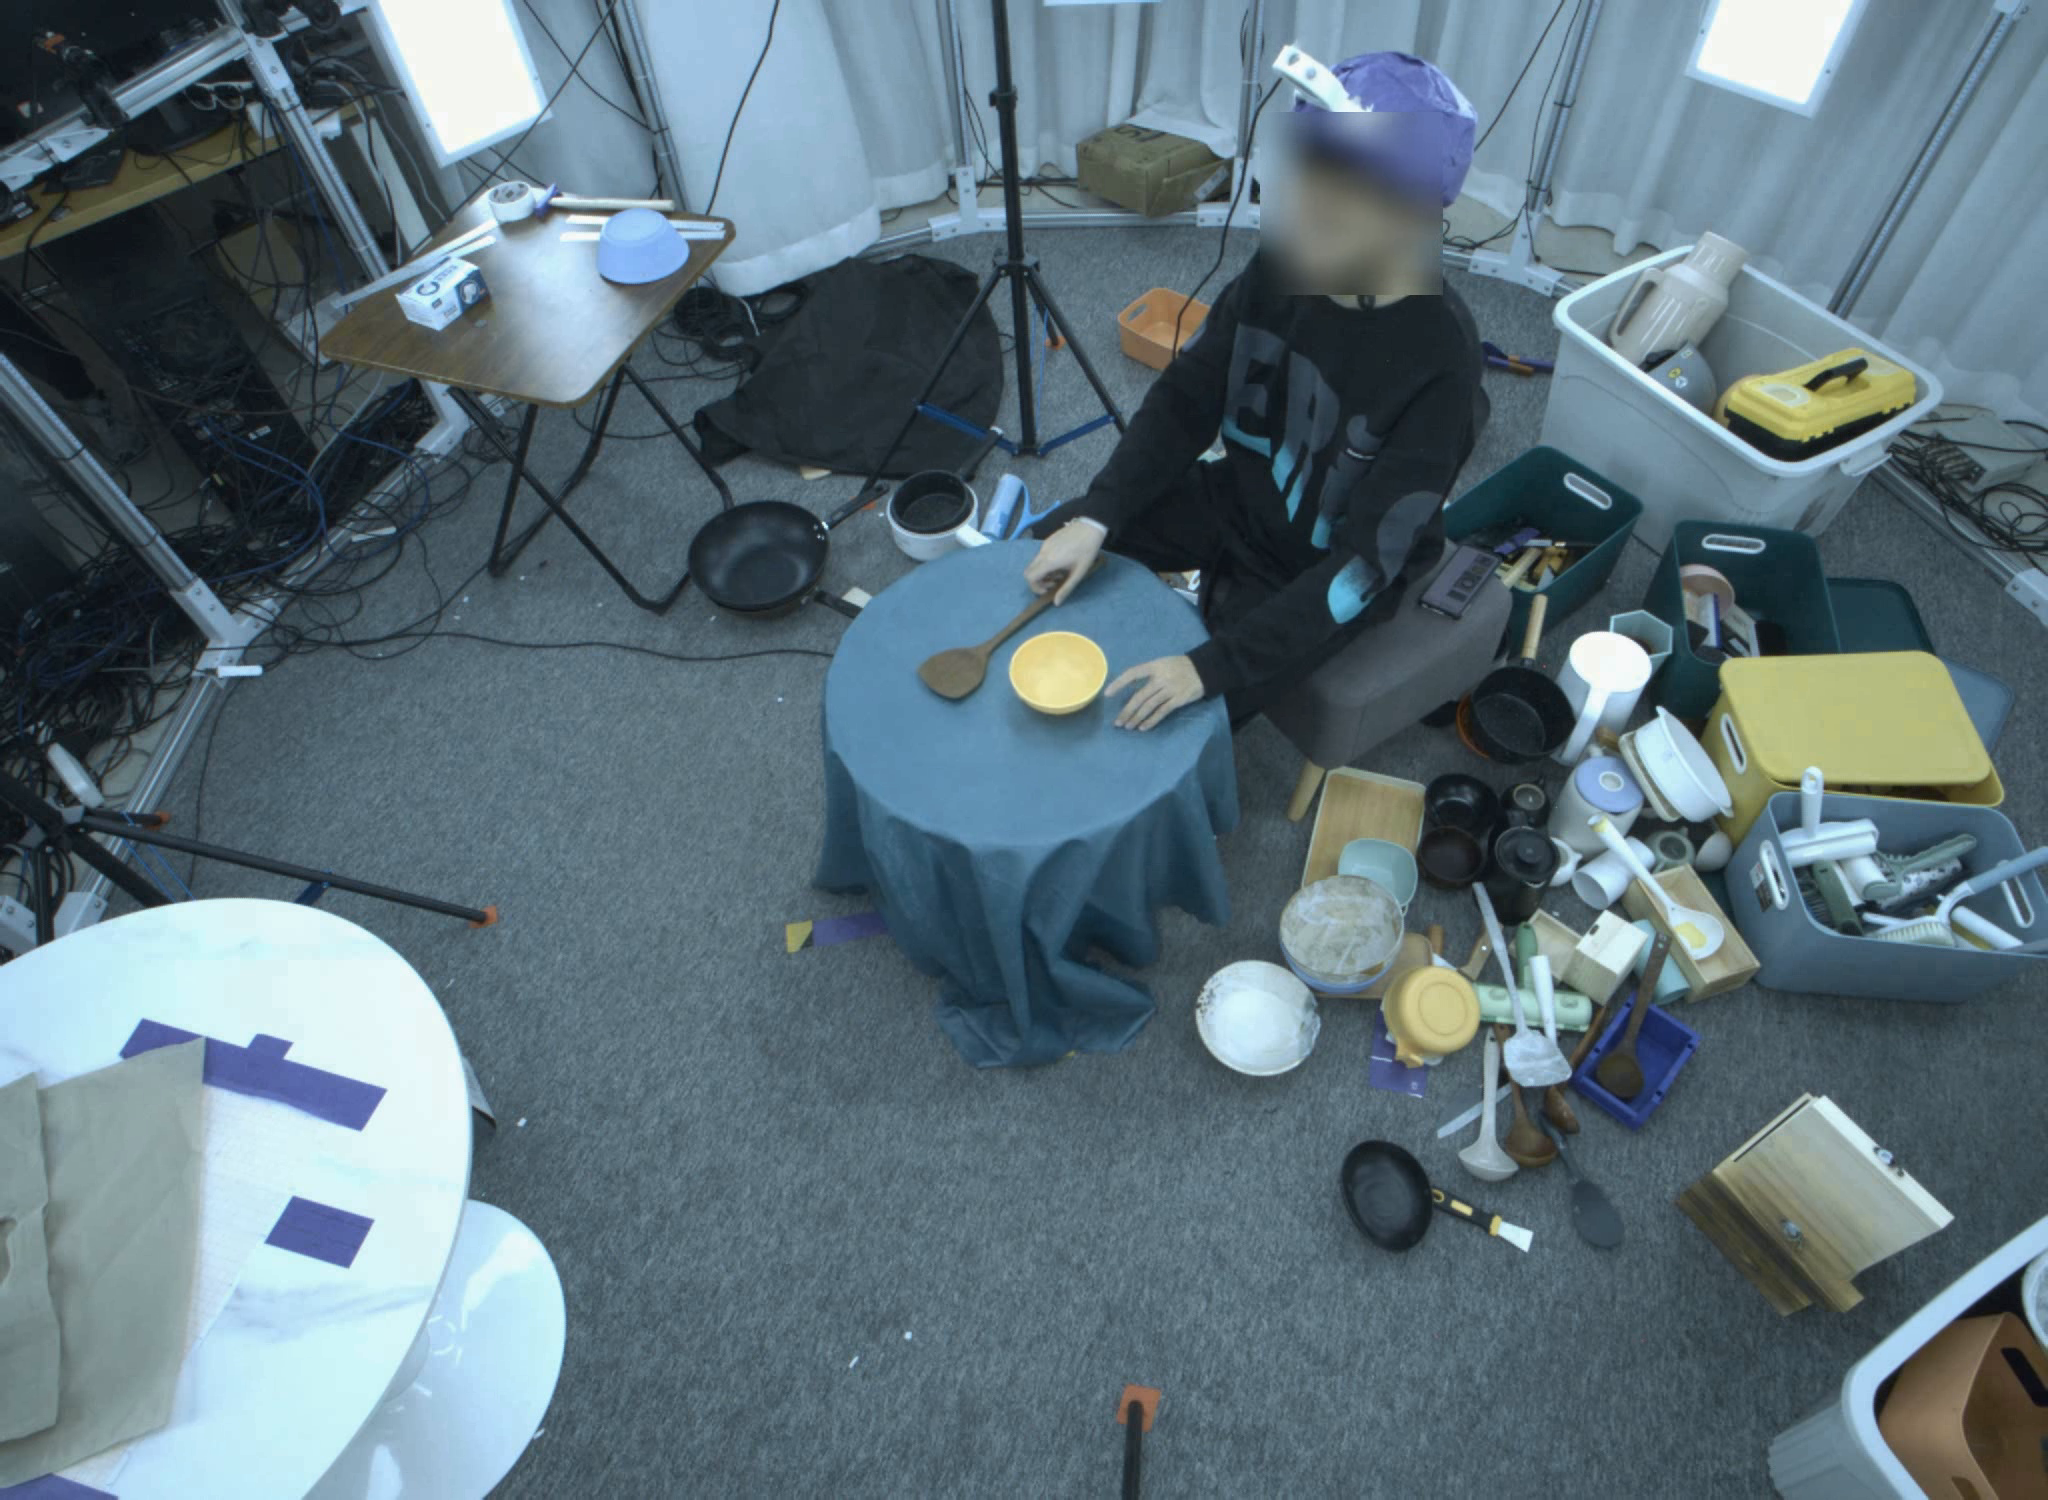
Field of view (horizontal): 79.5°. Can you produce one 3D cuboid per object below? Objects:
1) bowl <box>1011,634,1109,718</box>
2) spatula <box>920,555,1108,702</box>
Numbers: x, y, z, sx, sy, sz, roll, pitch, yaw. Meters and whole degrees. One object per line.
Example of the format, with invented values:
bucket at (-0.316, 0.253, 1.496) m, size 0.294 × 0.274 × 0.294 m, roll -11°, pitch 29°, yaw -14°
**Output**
bowl at (0.053, -0.099, 1.832) m, size 0.145 × 0.060 × 0.144 m, roll 1°, pitch 56°, yaw 0°
spatula at (-0.002, -0.203, 1.931) m, size 0.094 × 0.016 × 0.388 m, roll 38°, pitch 64°, yaw 24°
